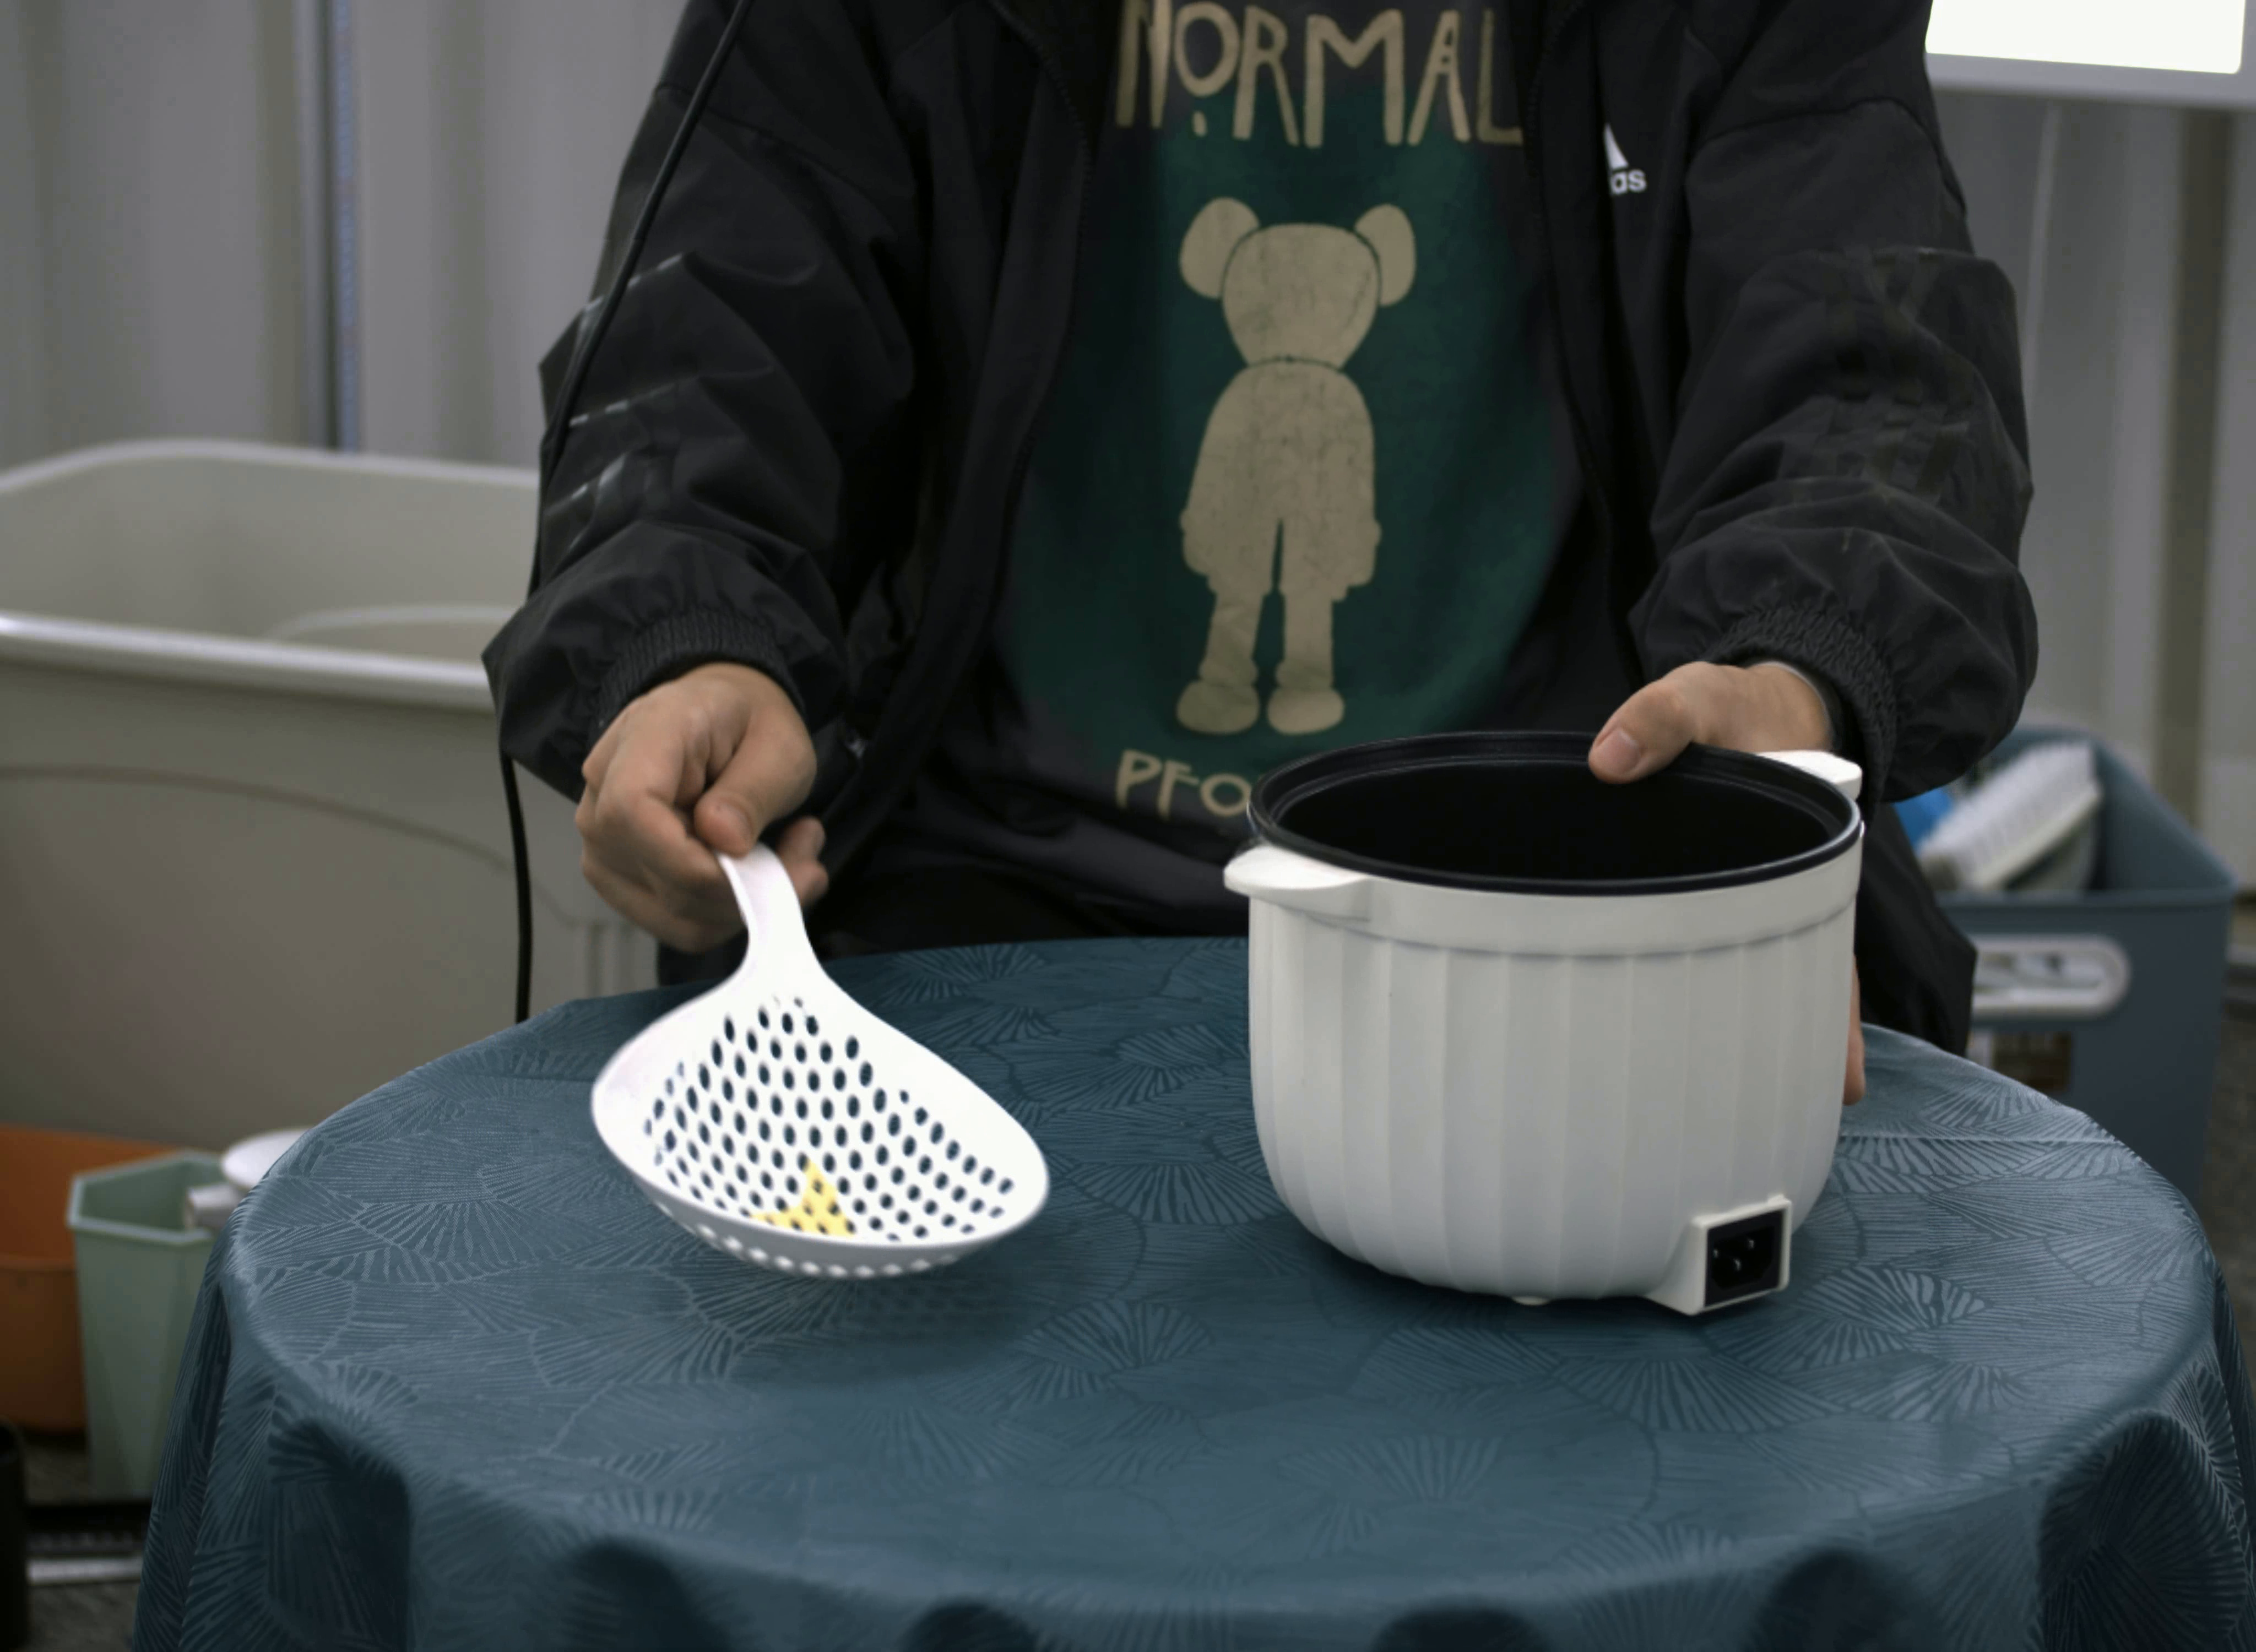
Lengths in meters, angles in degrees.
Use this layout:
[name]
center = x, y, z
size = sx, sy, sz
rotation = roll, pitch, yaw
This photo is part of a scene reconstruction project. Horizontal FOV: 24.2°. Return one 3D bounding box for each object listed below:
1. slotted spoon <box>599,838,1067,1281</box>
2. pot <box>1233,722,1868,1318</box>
[slotted spoon]
center = -0.107, 0.059, 1.631
size = 0.137, 0.051, 0.344
rotation = 5, 25, -13
[pot]
center = 0.121, 0.056, 1.571
size = 0.242, 0.144, 0.188
rotation = -10, 22, -38
